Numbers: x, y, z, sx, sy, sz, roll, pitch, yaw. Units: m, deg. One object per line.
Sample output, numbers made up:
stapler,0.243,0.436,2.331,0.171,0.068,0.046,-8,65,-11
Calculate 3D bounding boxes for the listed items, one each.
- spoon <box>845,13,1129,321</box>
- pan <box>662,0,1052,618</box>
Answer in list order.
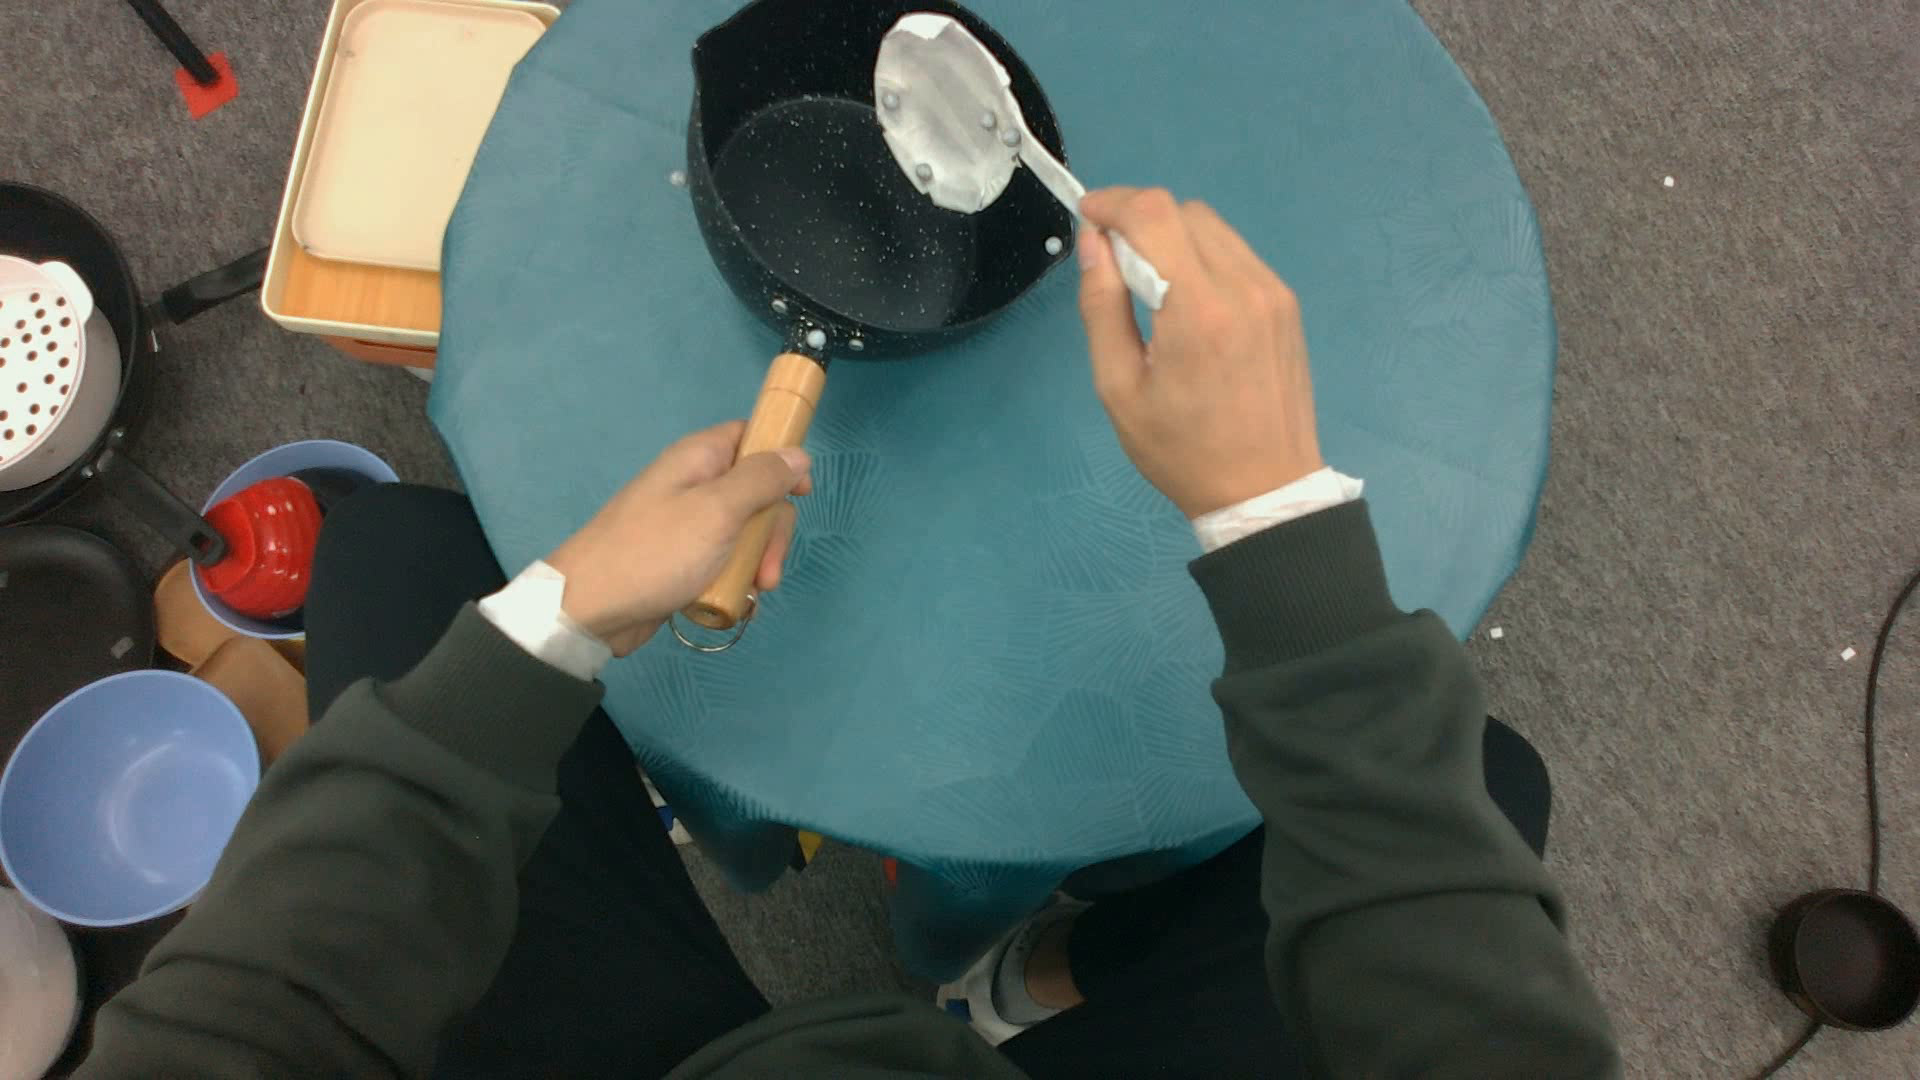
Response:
spoon,0.002,-0.151,0.598,0.059,0.100,0.278,-16,38,-5
pan,-0.074,-0.111,0.650,0.207,0.108,0.344,23,67,-16
